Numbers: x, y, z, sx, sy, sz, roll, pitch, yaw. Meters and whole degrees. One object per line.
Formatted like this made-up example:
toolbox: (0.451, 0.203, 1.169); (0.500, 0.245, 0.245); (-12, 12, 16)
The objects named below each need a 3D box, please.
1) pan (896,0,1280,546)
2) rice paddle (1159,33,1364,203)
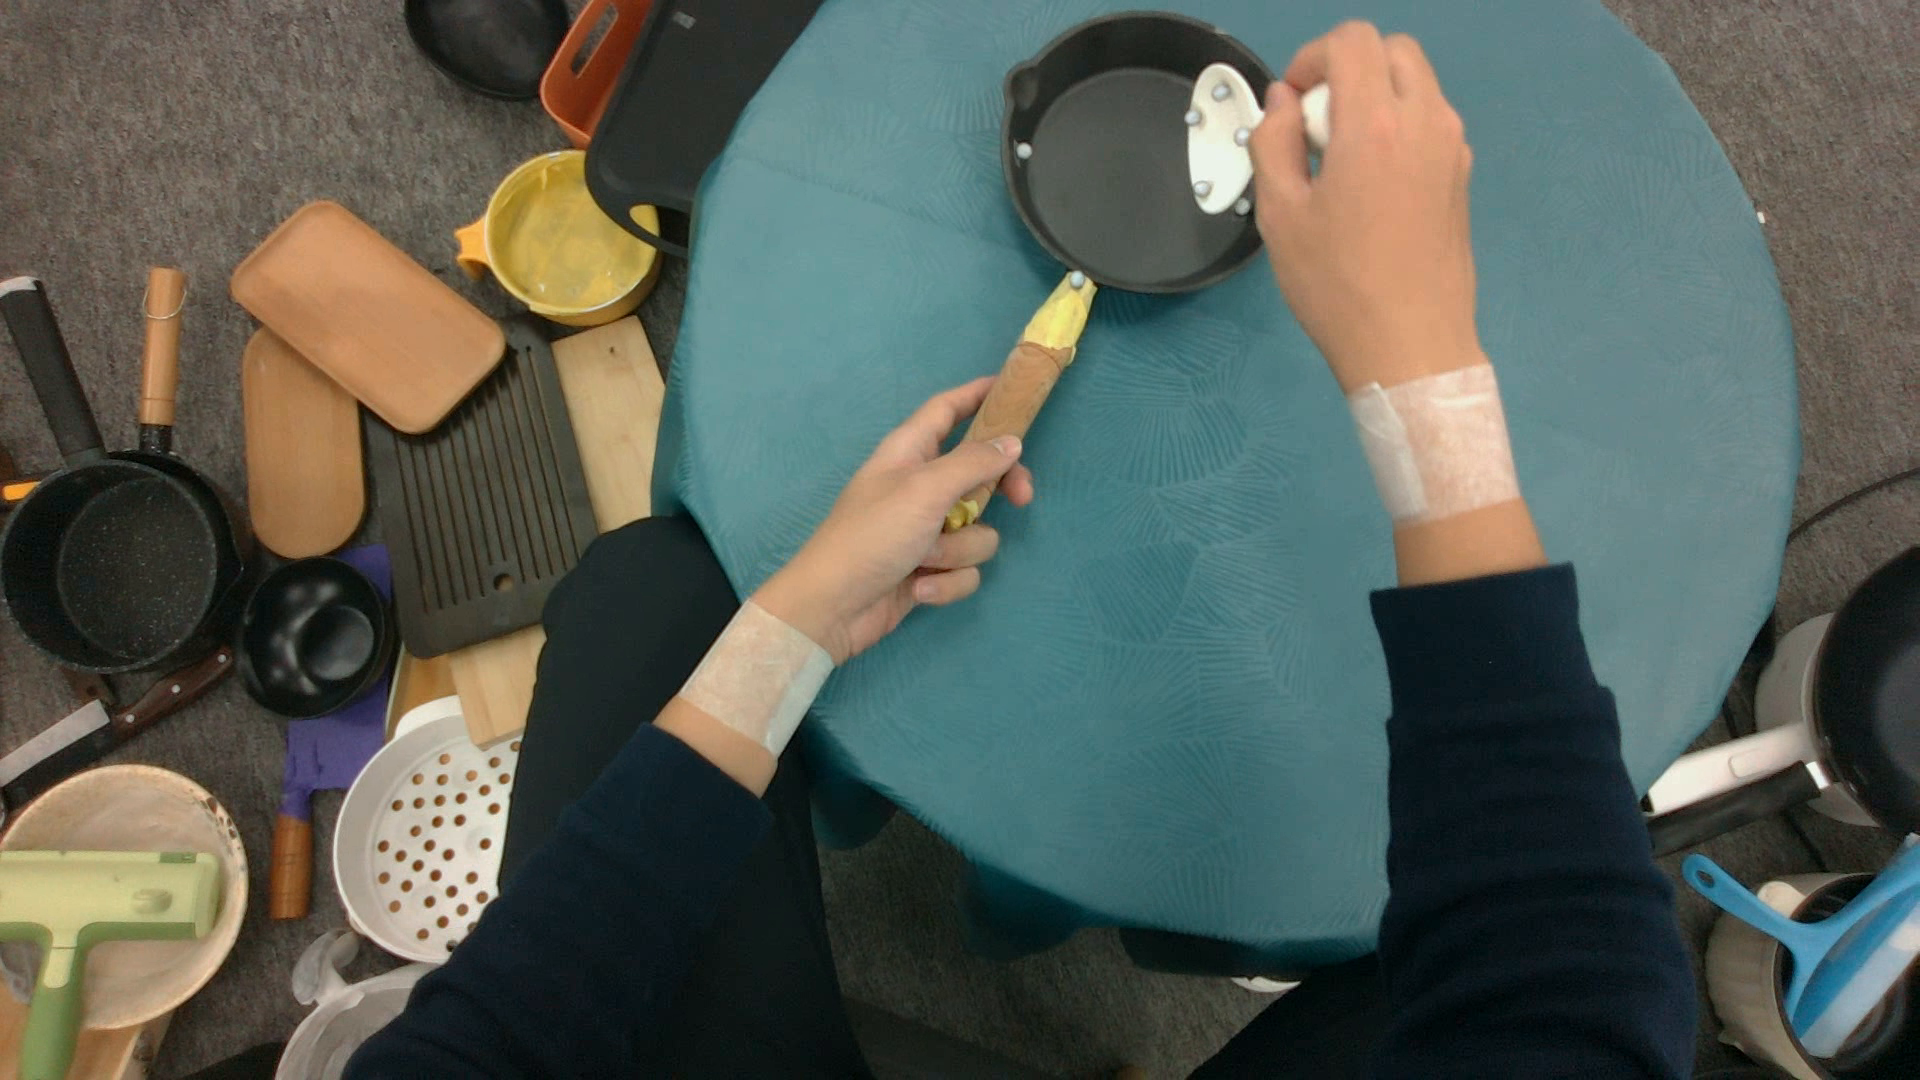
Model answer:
pan: (0.048, -0.137, 0.699); (0.169, 0.049, 0.325); (29, 76, 1)
rice paddle: (0.119, -0.189, 0.613); (0.029, 0.205, 0.068); (-6, 101, -9)
